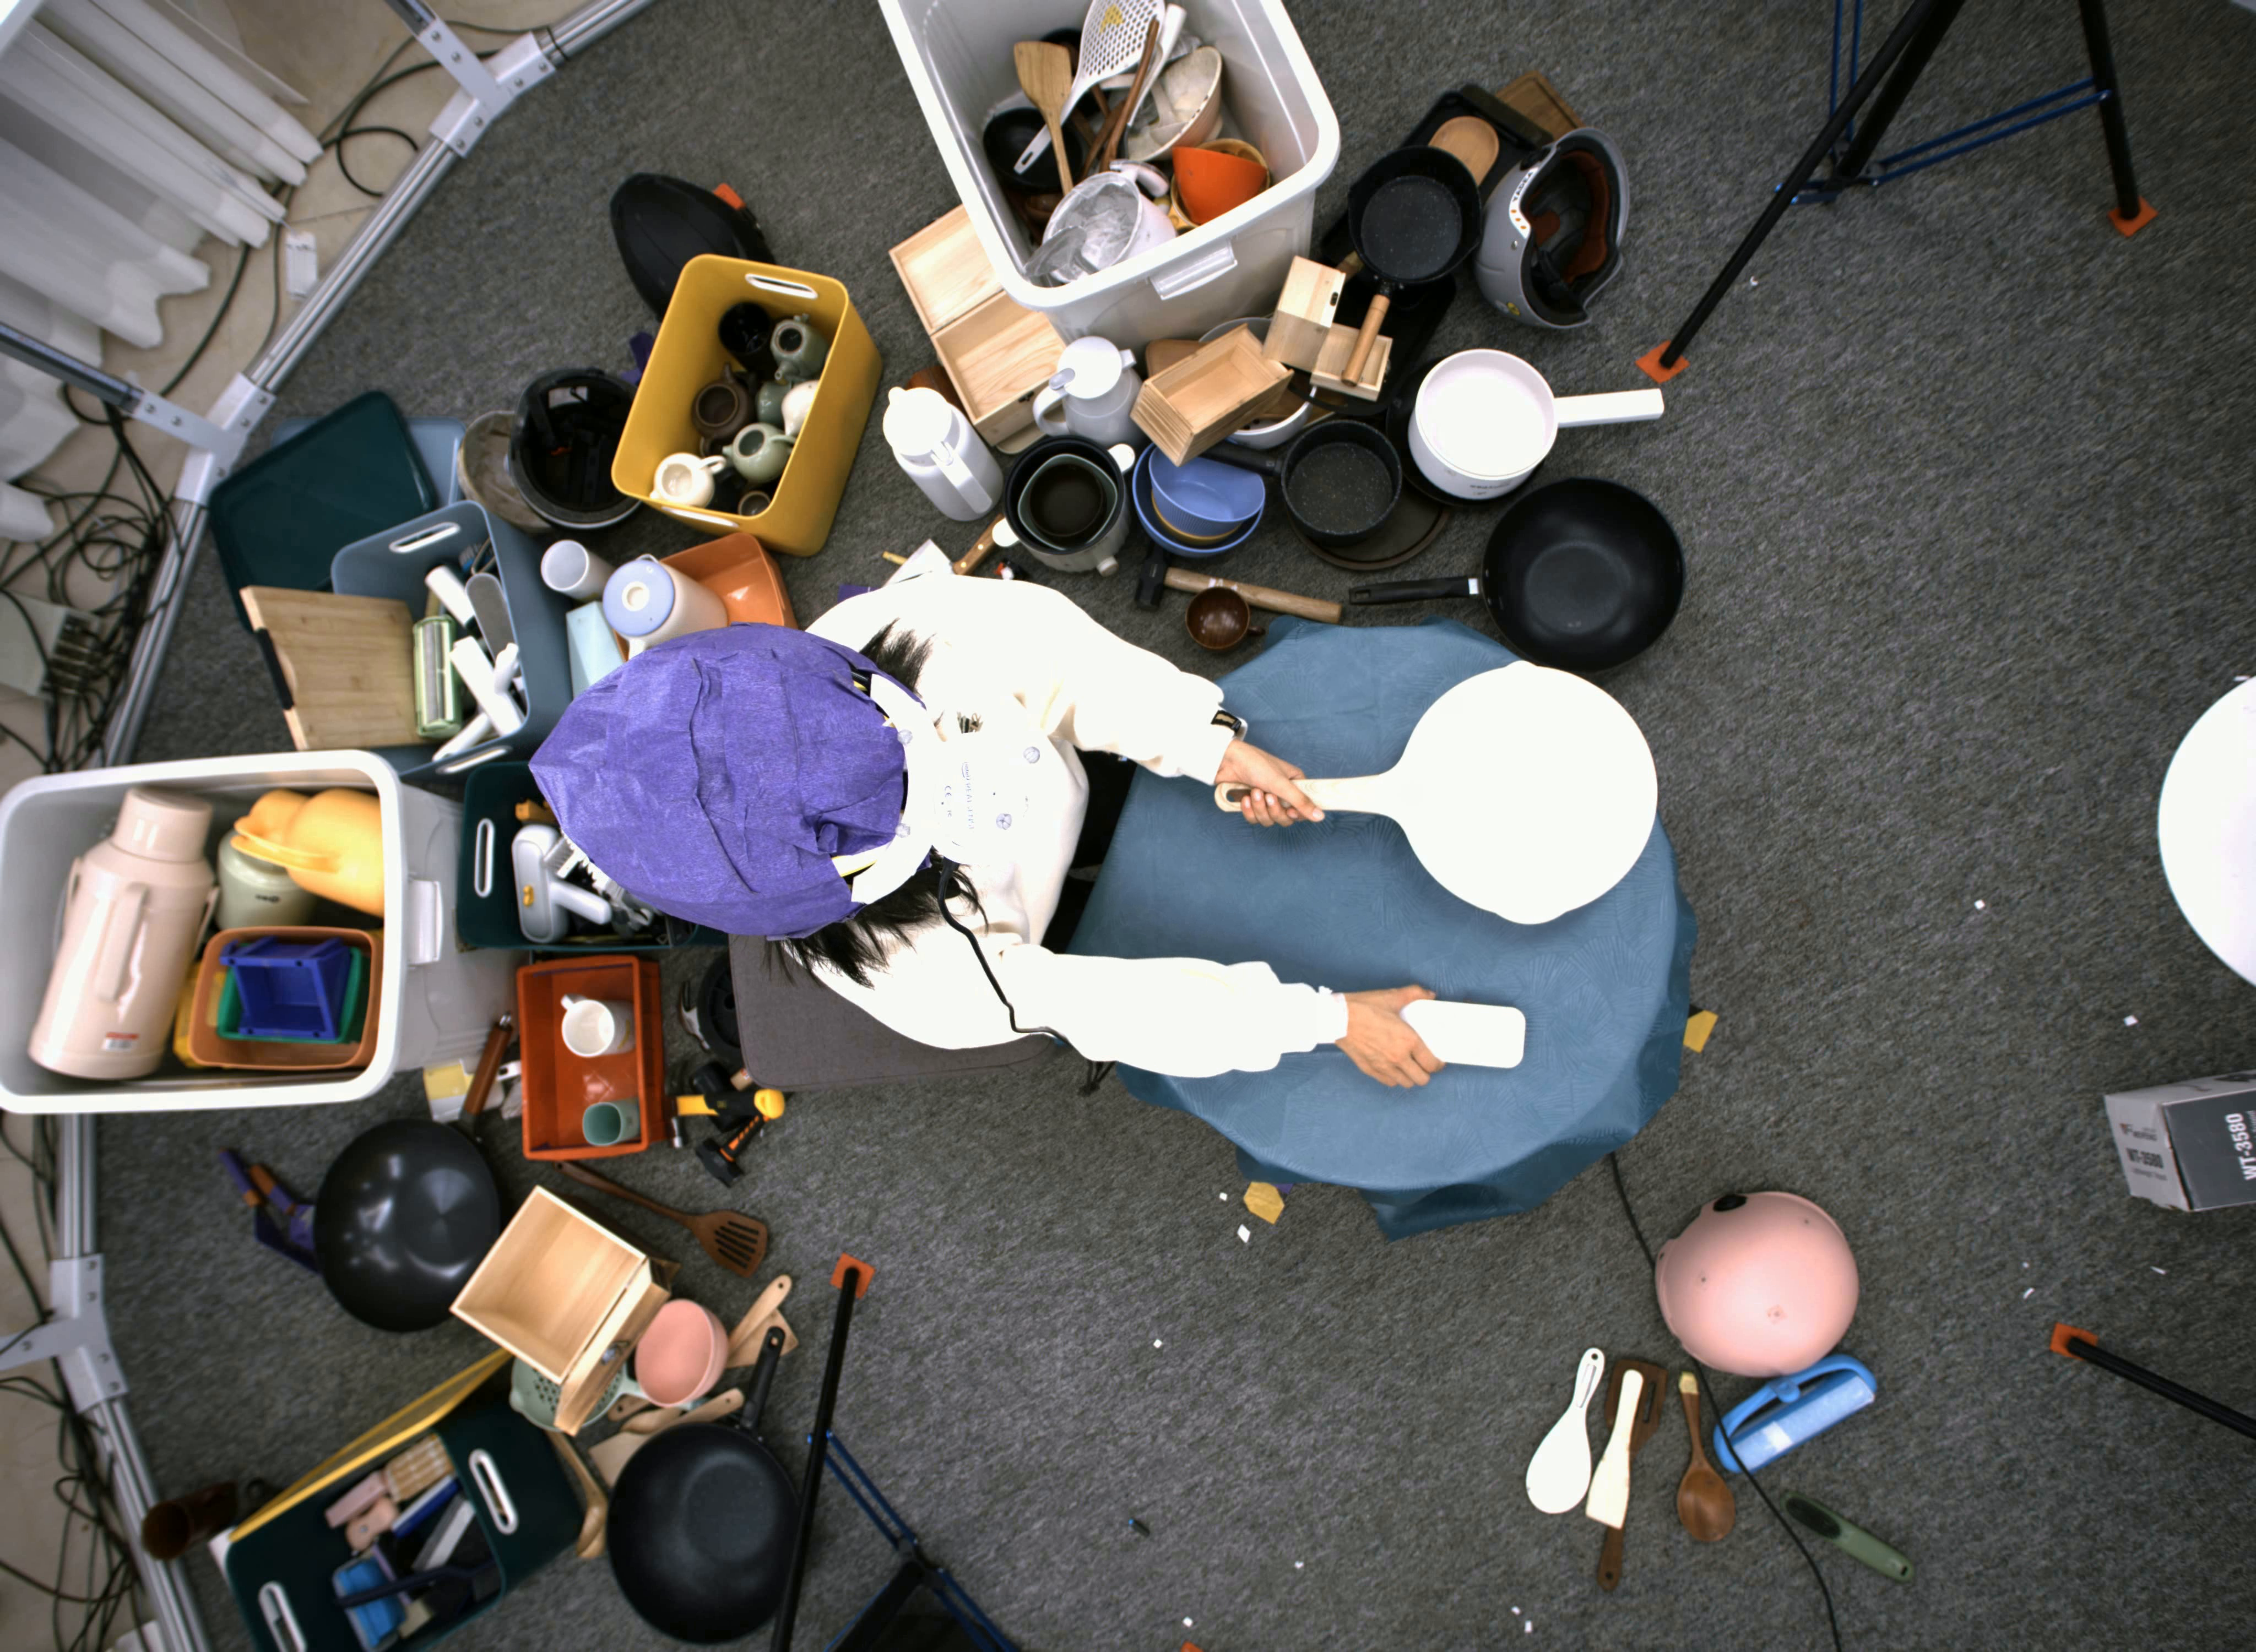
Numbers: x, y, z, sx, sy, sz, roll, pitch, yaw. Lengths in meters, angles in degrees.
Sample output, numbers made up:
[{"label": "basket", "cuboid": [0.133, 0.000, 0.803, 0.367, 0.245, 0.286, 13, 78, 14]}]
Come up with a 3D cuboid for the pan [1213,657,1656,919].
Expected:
[{"label": "pan", "cuboid": [0.308, -0.035, 1.407, 0.436, 0.102, 0.262, -2, 87, 10]}]

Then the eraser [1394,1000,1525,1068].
[{"label": "eraser", "cuboid": [0.341, 0.211, 1.423, 0.131, 0.034, 0.063, 5, 86, 10]}]
